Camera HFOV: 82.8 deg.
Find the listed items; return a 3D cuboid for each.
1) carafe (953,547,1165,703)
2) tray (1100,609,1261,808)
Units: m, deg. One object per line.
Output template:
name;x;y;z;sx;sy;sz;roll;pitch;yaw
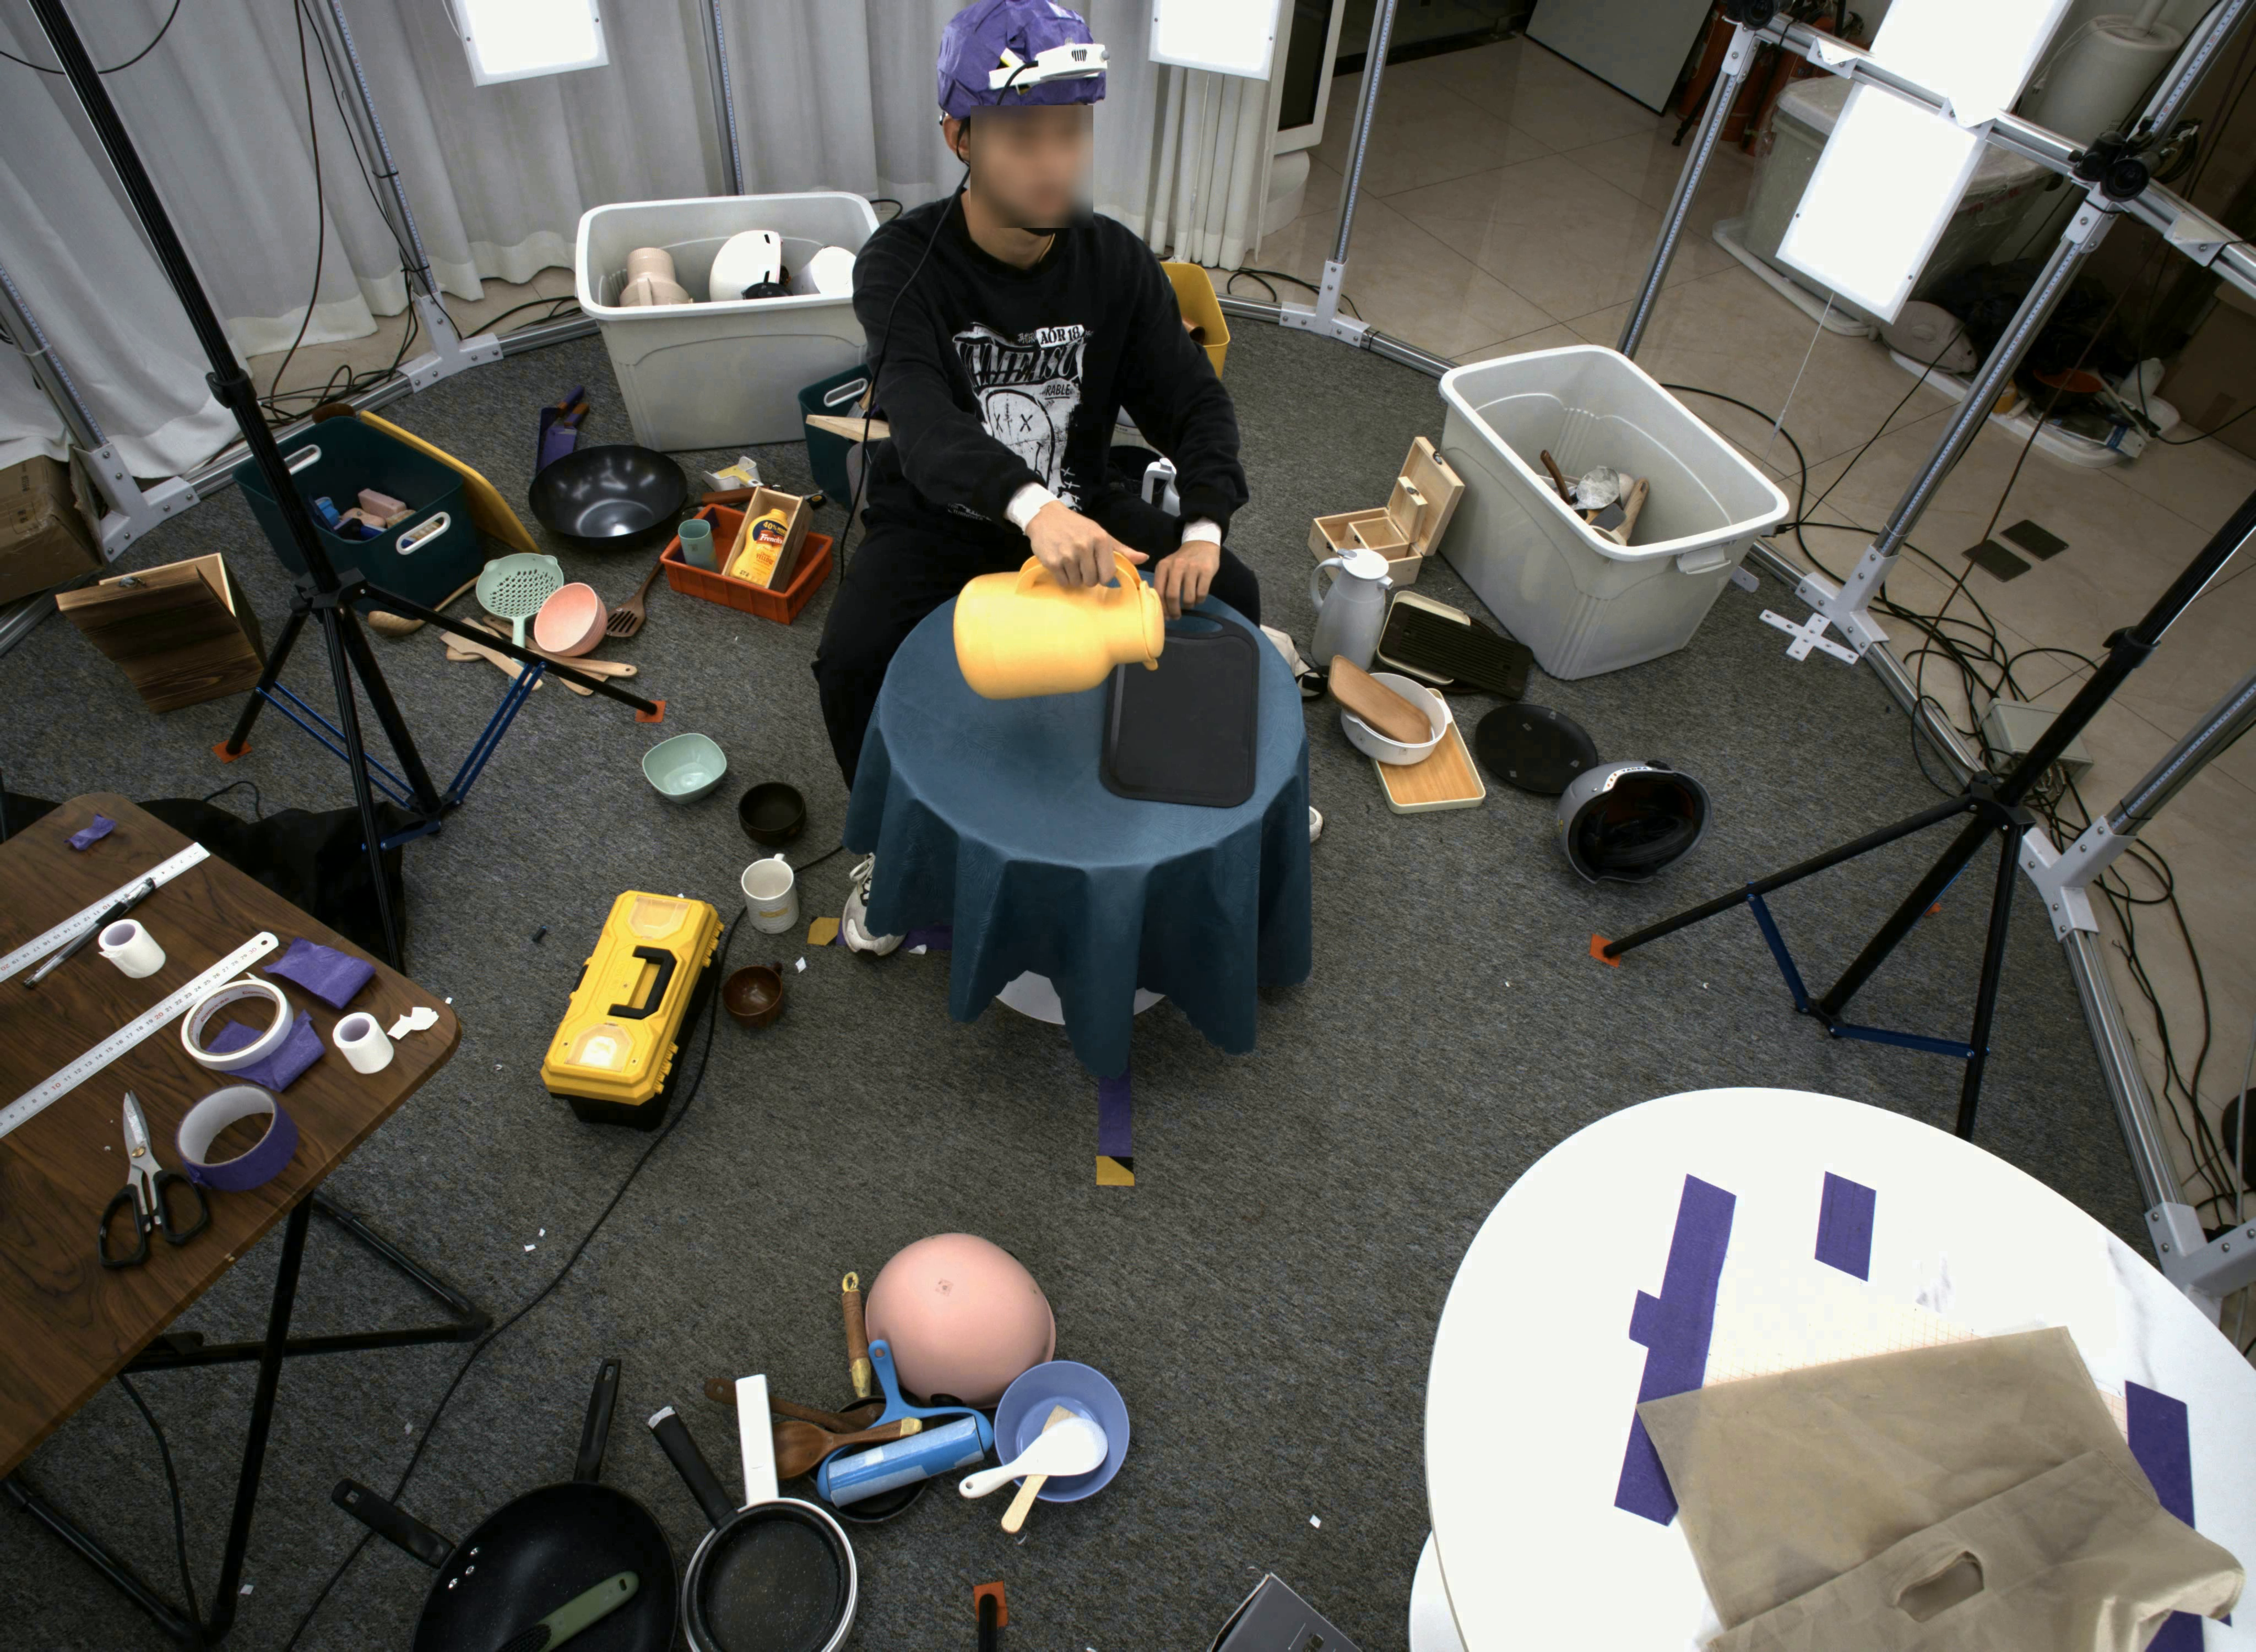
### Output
carafe;-0.087;-0.262;1.635;0.260;0.197;0.167;-5;46;11
tray;0.076;-0.173;1.782;0.211;0.009;0.332;6;59;1
